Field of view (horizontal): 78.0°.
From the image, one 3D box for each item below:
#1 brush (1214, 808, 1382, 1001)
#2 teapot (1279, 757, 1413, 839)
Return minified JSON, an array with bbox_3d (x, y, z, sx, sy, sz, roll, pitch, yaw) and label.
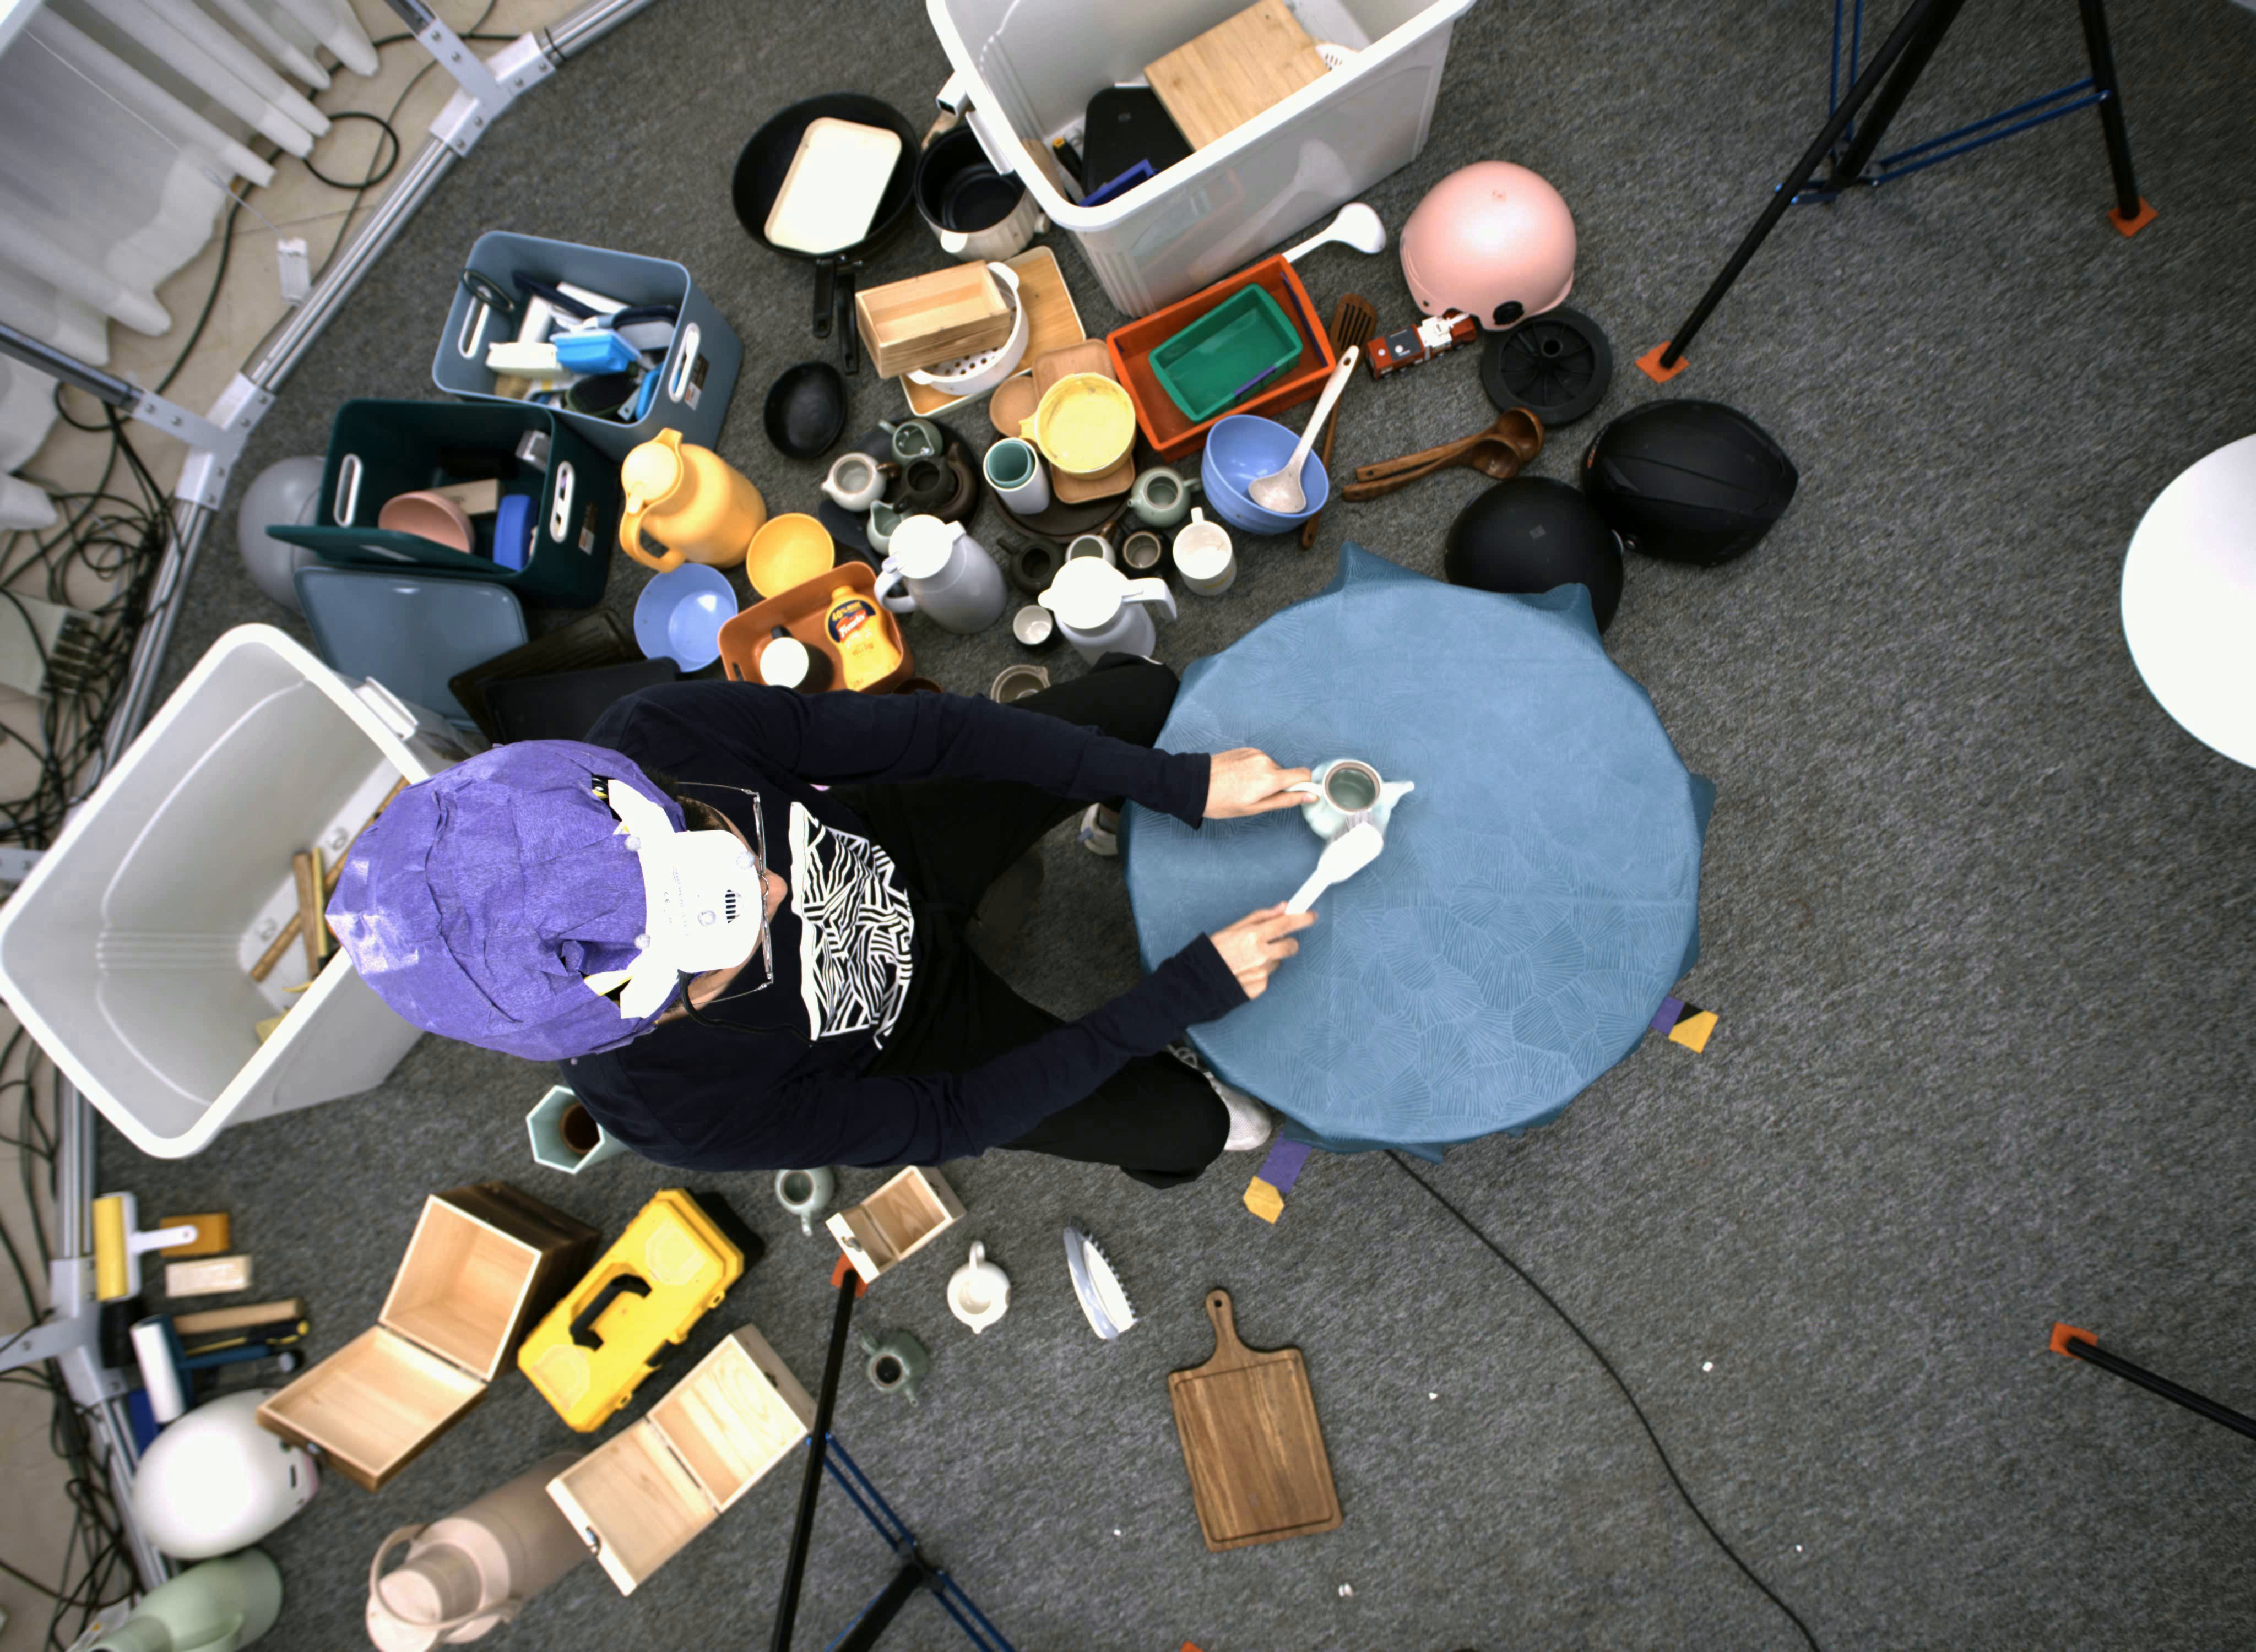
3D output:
[{"bbox_3d":[0.169,0.079,1.416,0.034,0.049,0.246,37,102,-23],"label":"brush"},{"bbox_3d":[0.223,-0.033,1.433,0.137,0.062,0.094,-2,71,-4],"label":"teapot"}]
